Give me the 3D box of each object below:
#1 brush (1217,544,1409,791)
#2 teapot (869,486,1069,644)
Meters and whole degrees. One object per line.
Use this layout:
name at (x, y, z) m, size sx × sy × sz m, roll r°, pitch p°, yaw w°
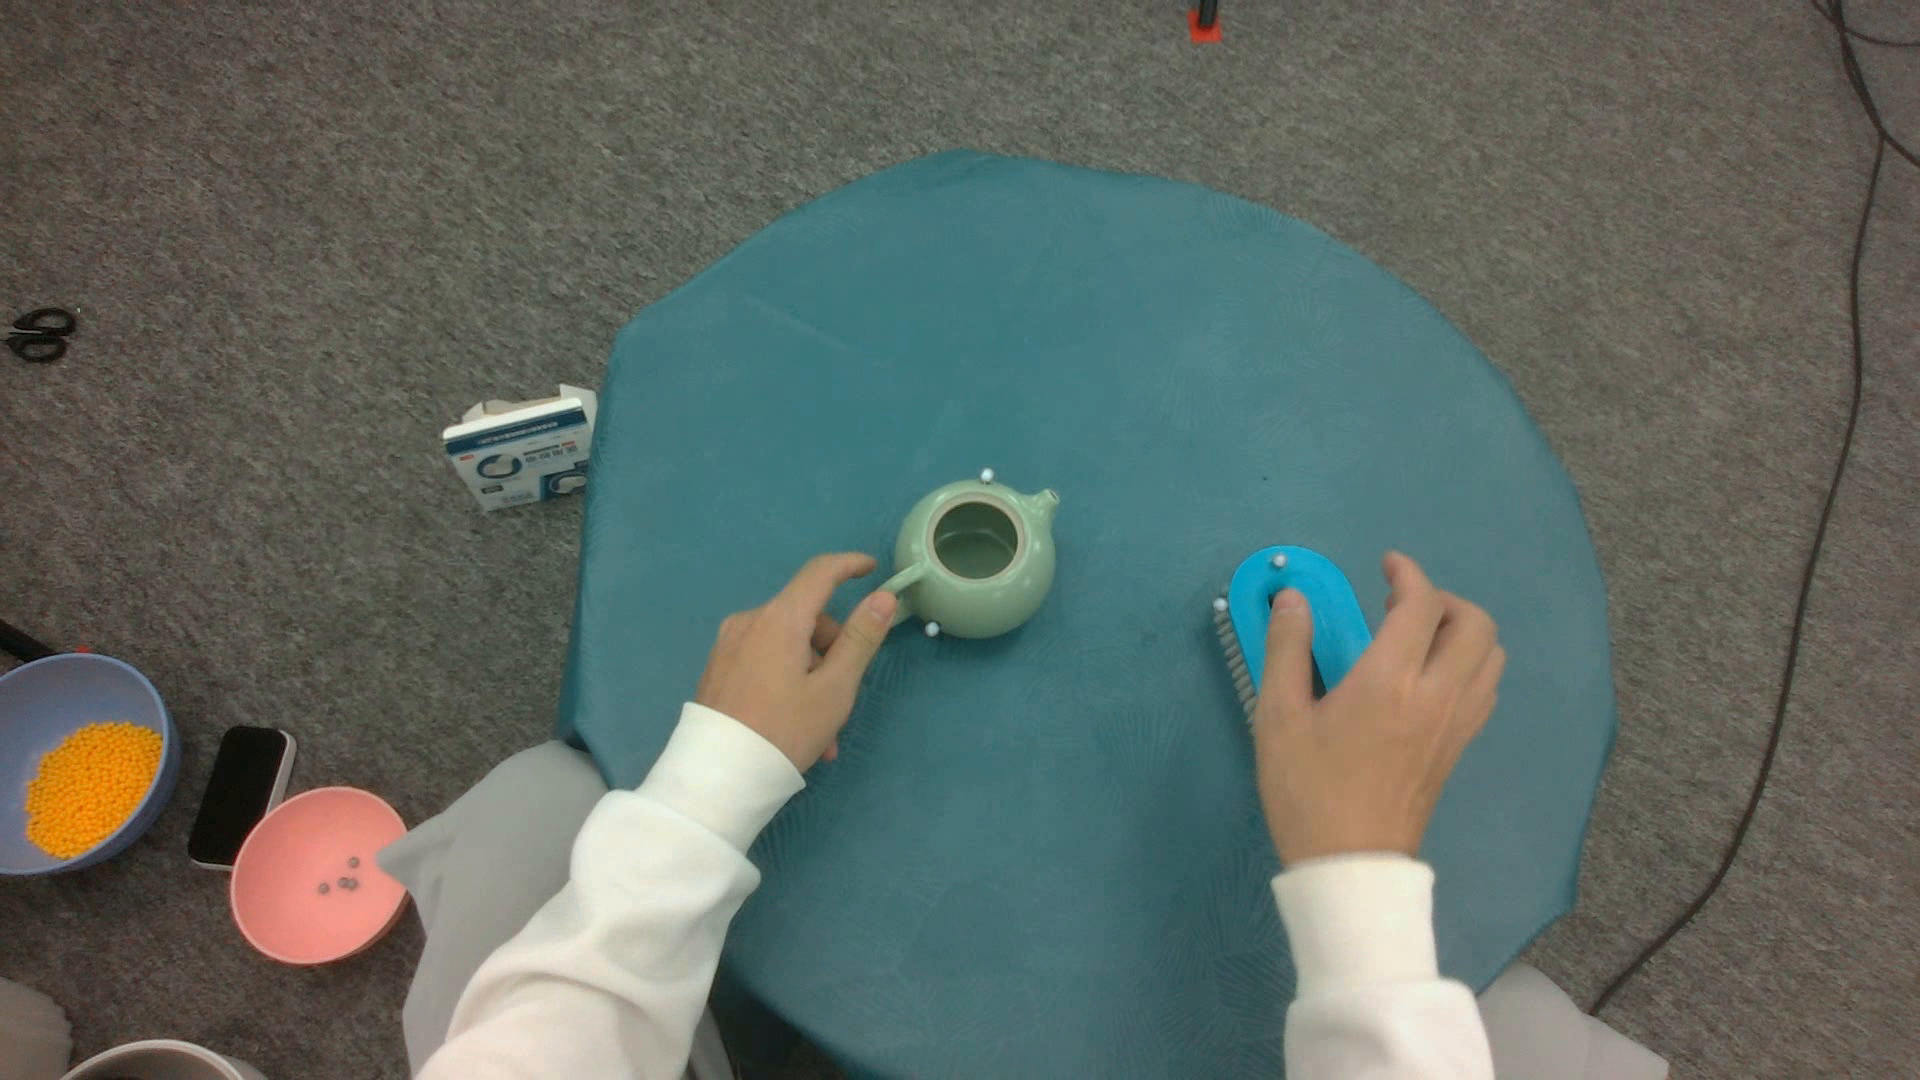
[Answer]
brush at (0.201, 0.063, 0.766) m, size 0.084 × 0.063 × 0.142 m, roll -9°, pitch 65°, yaw -11°
teapot at (0.005, 0.019, 0.786) m, size 0.129 × 0.061 × 0.091 m, roll -27°, pitch 70°, yaw -12°
